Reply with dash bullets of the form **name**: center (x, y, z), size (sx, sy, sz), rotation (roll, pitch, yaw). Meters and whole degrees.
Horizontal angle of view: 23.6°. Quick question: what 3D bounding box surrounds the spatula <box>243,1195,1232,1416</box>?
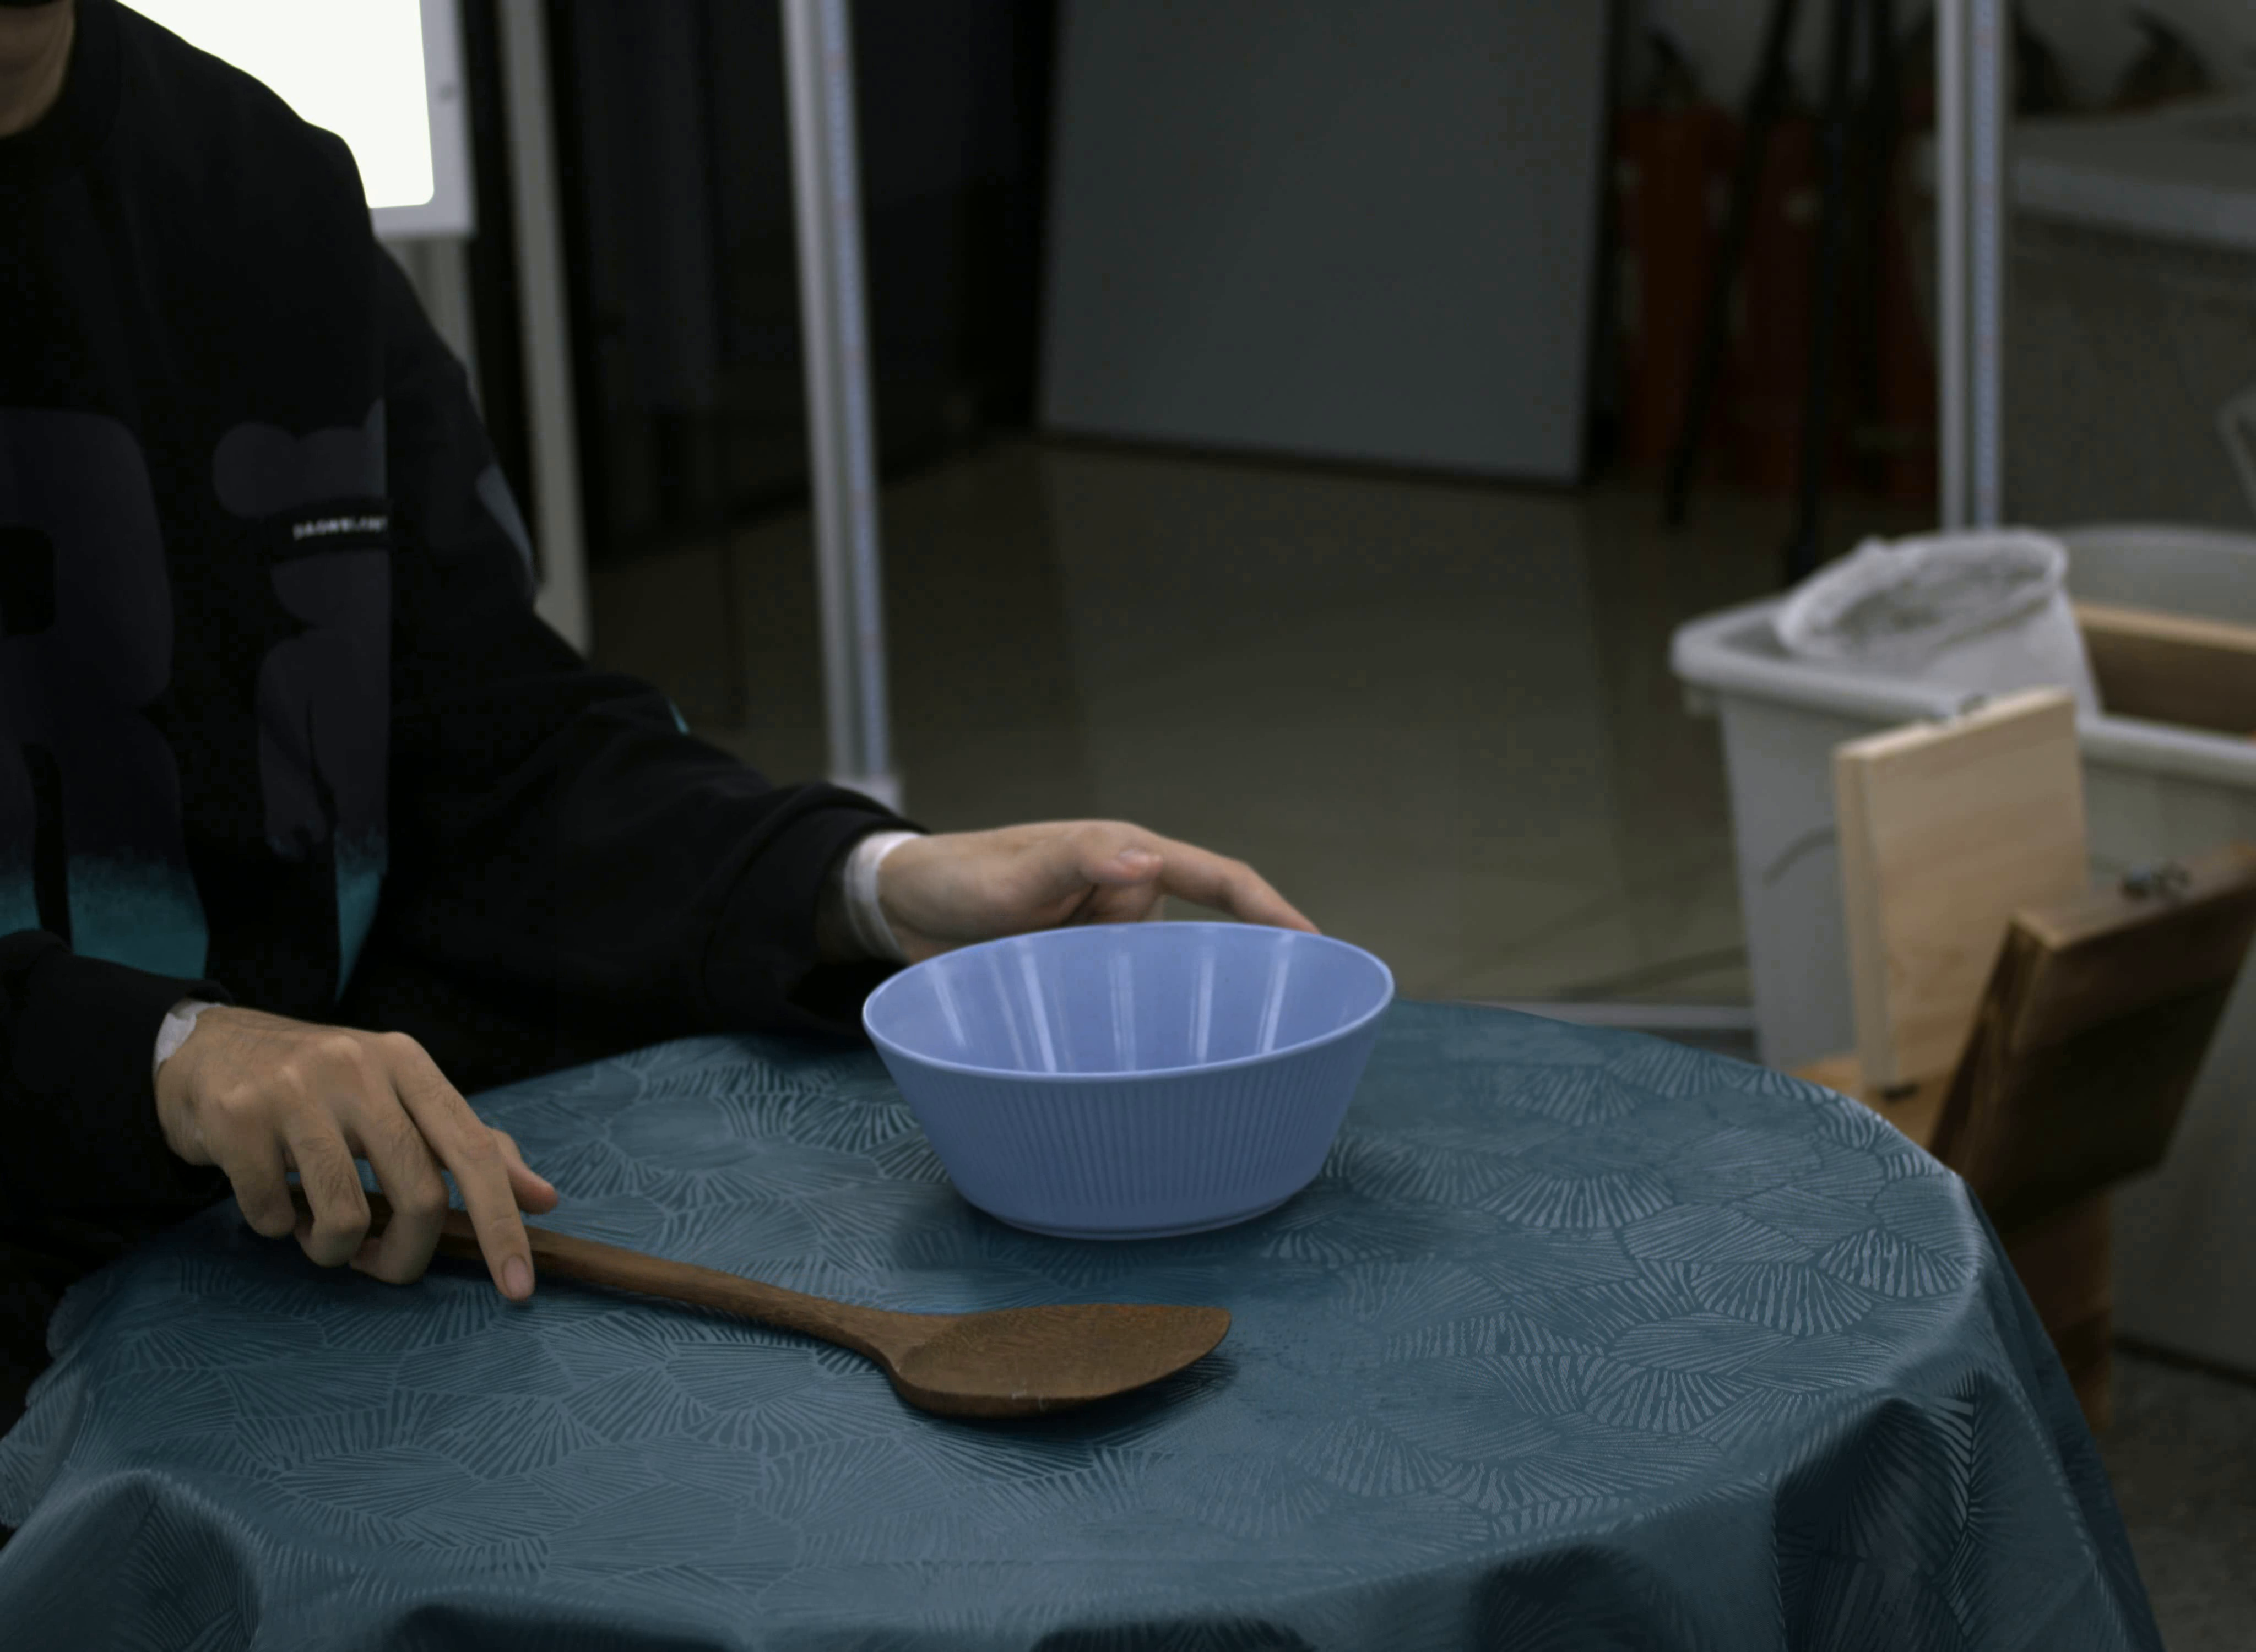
- **spatula**: center (-0.138, 0.145, 1.685), size (0.388, 0.016, 0.094), rotation (6, 17, 37)

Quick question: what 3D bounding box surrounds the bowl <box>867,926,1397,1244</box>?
- **bowl**: center (0.004, 0.087, 1.763), size (0.174, 0.071, 0.176), rotation (-5, 13, 0)
